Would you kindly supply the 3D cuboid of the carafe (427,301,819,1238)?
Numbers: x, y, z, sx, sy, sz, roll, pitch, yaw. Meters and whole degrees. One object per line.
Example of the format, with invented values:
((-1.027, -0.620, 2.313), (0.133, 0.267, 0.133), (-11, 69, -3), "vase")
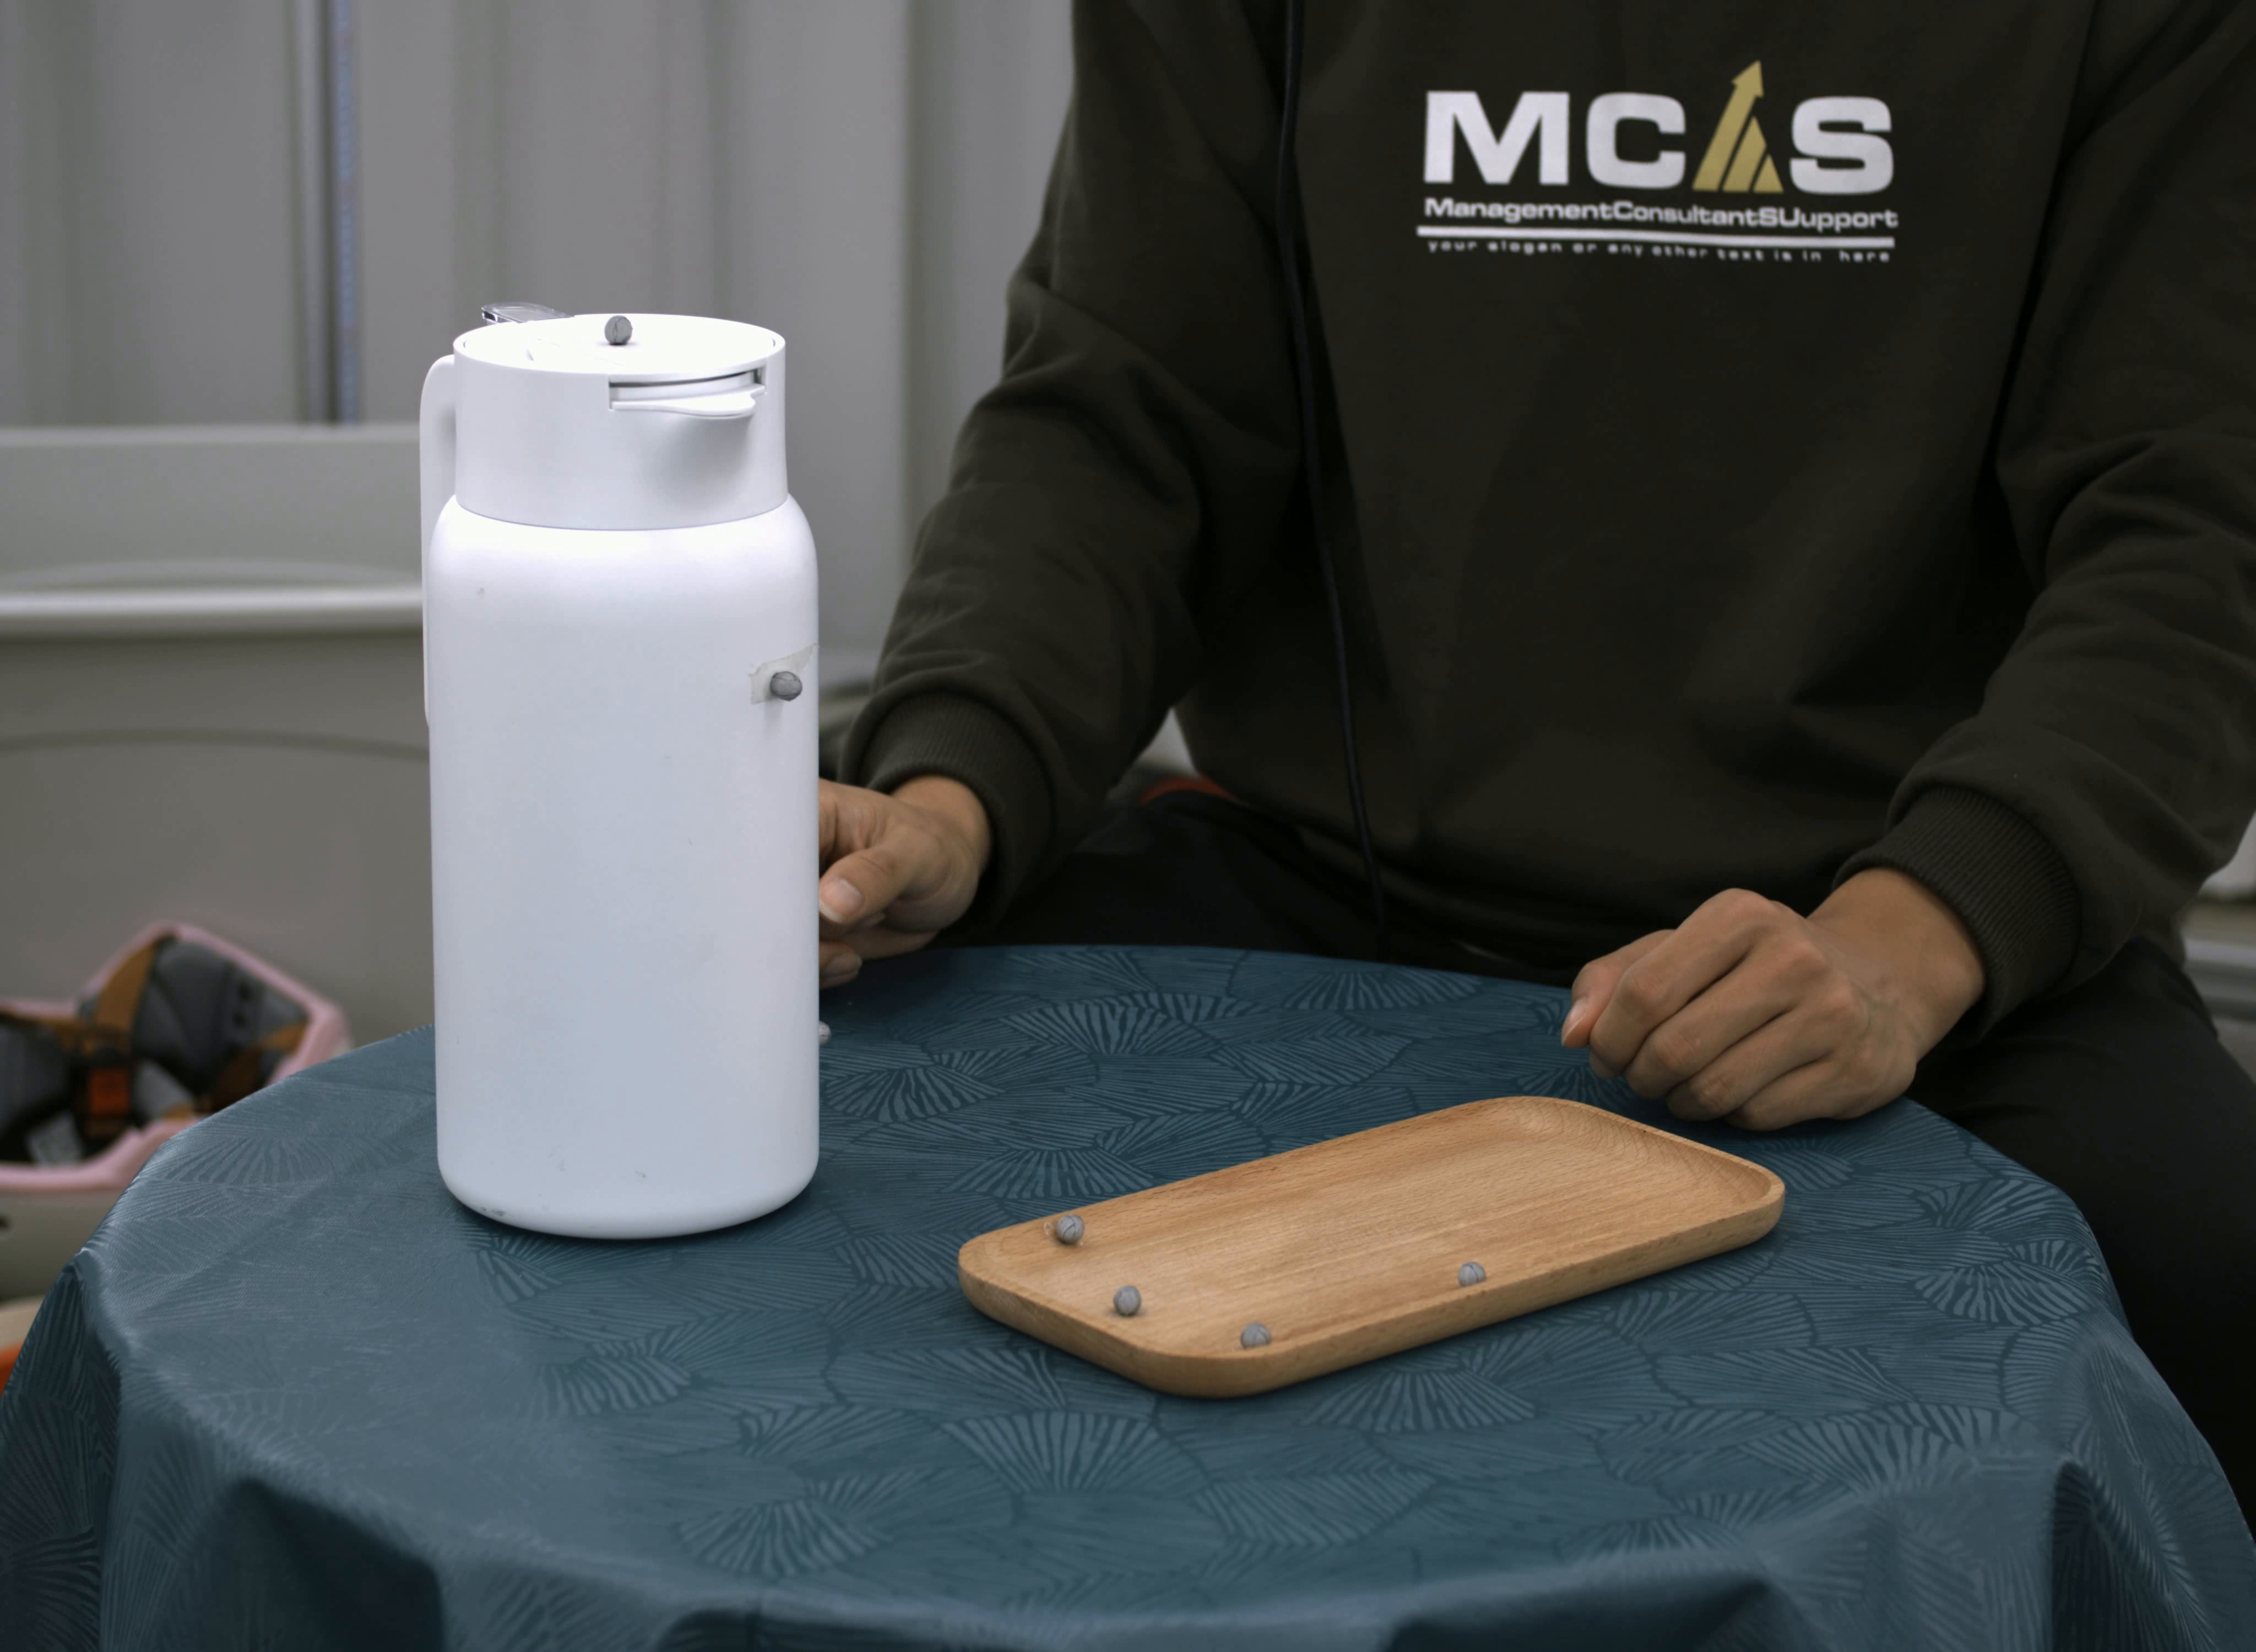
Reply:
((-0.163, -0.021, 1.602), (0.124, 0.271, 0.170), (-12, 20, -33), "carafe")

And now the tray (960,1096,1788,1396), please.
((0.076, 0.123, 1.568), (0.252, 0.023, 0.129), (-11, 21, -38), "tray")
